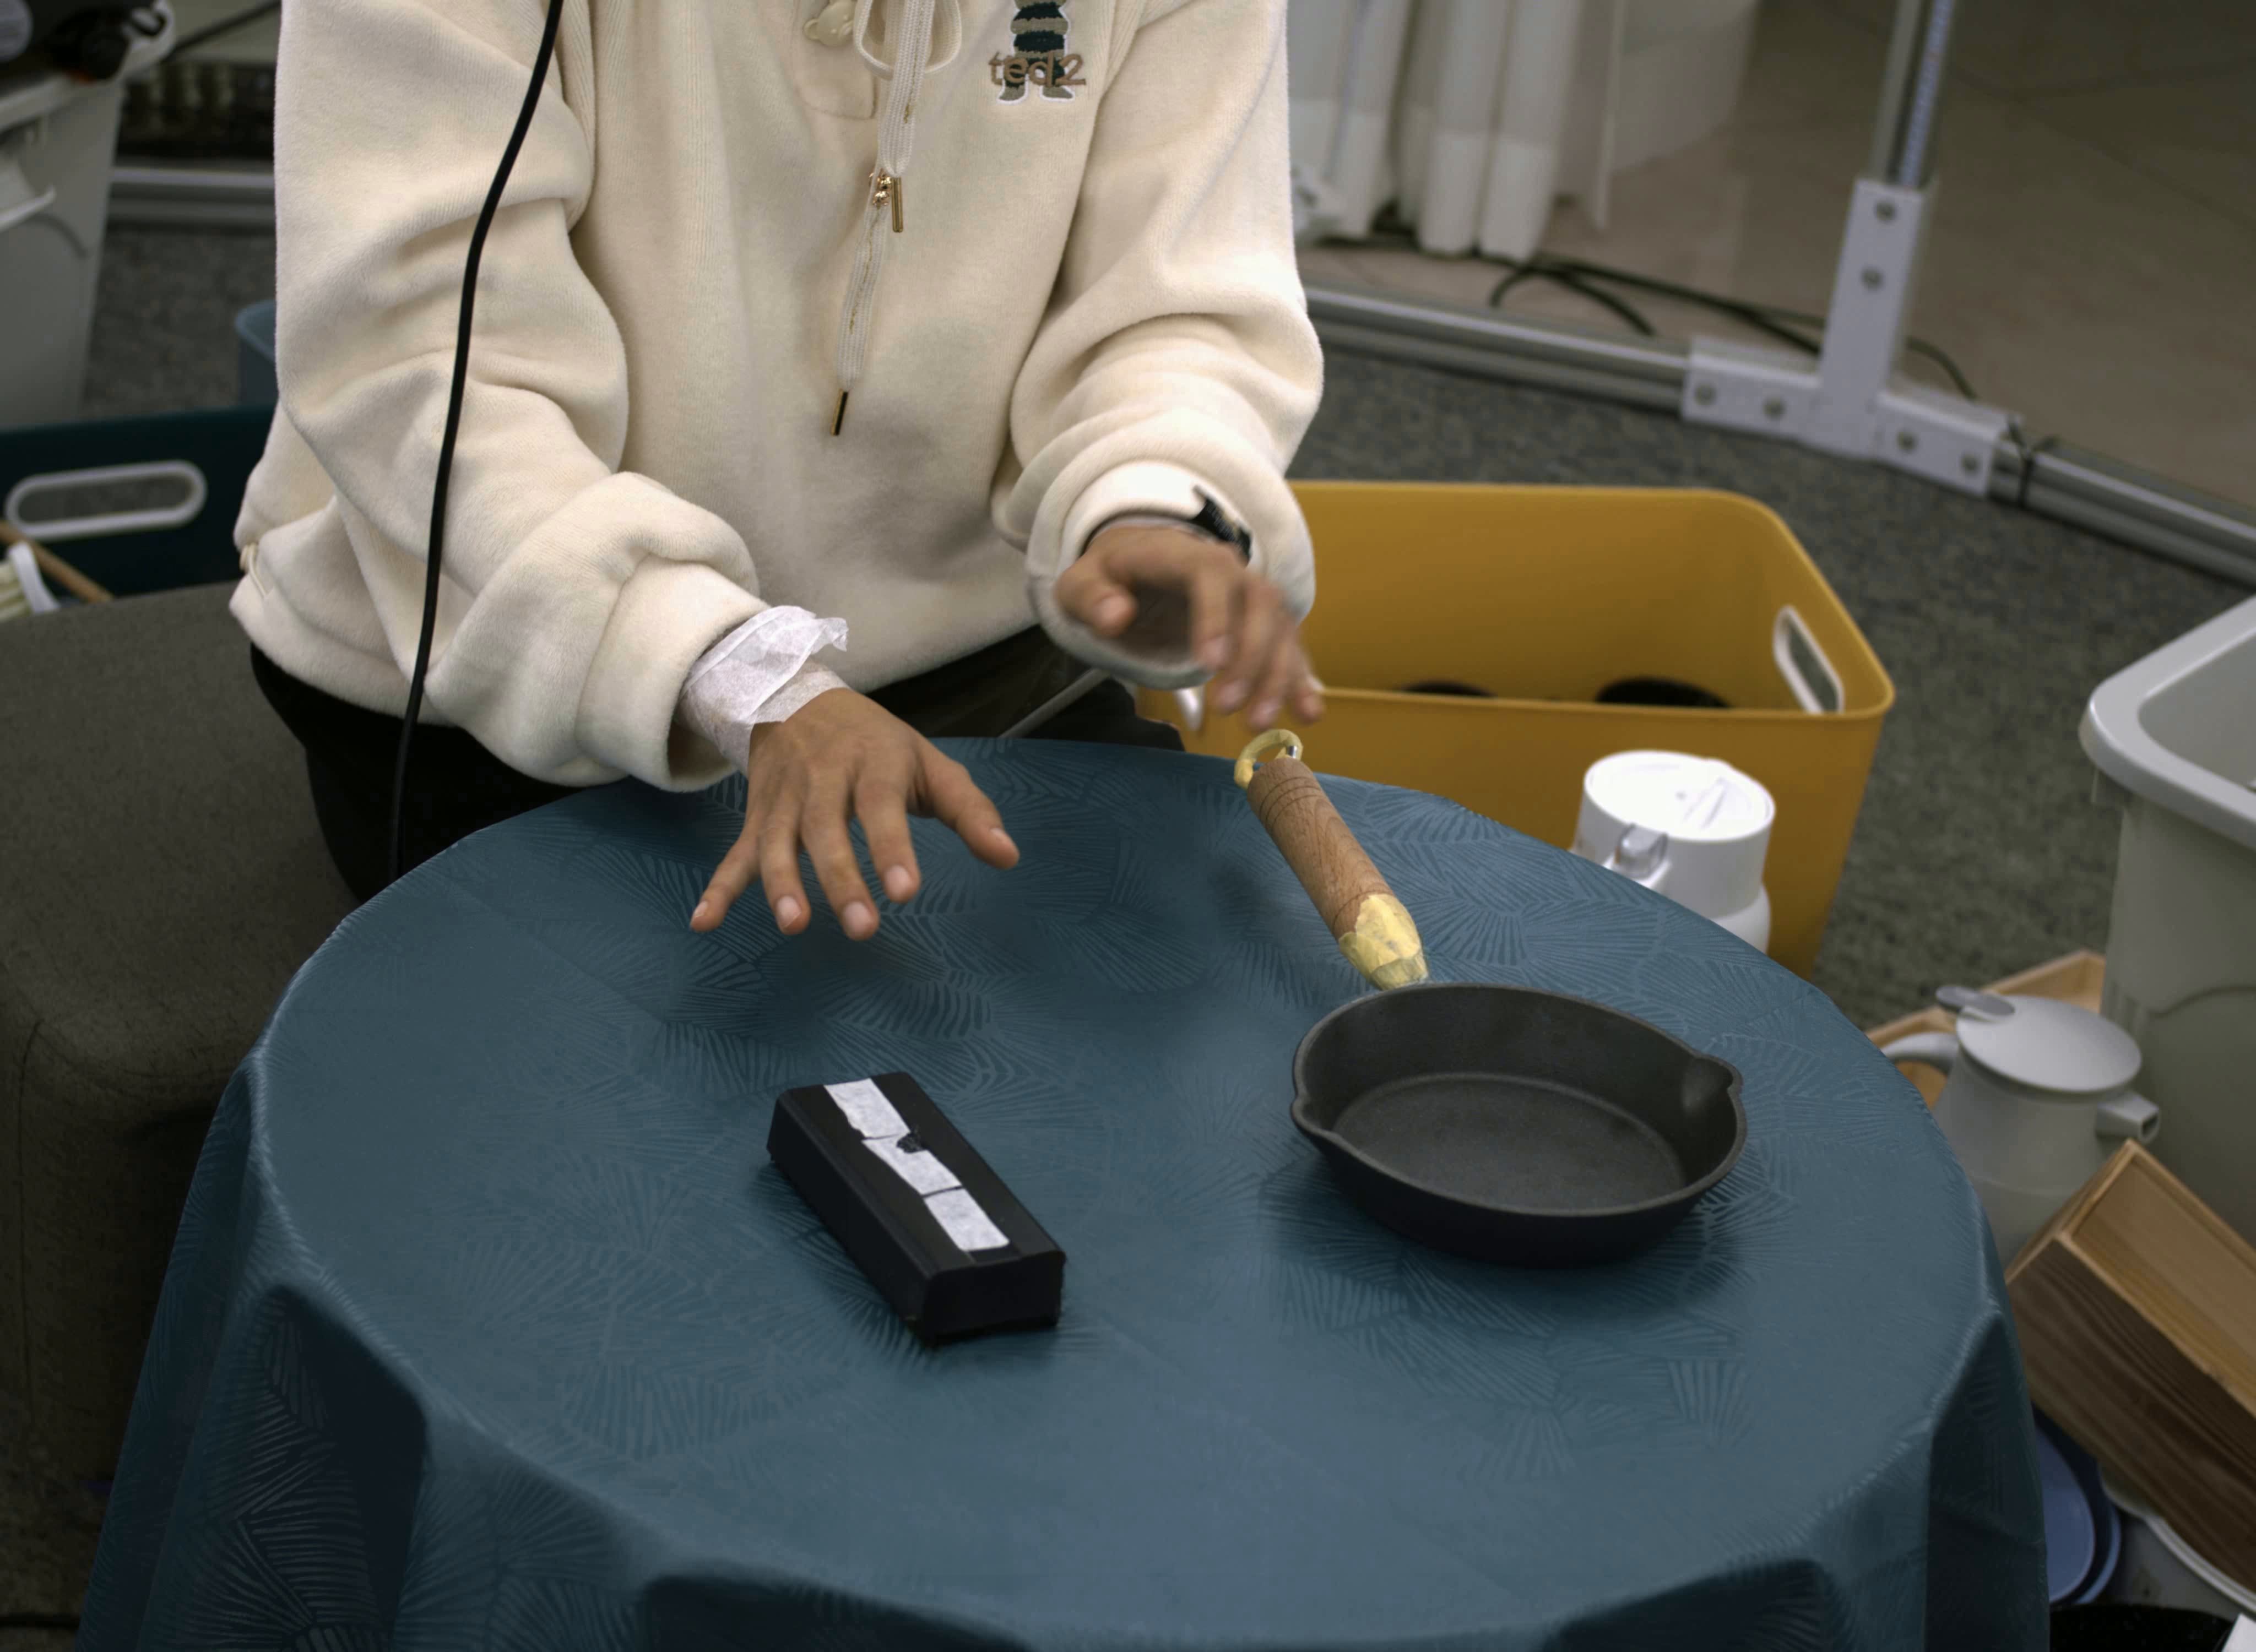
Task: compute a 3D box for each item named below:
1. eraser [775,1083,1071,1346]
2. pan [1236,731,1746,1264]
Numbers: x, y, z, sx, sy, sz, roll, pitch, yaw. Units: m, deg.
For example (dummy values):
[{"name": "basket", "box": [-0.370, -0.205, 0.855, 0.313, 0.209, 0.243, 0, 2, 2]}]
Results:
[{"name": "eraser", "box": [-0.069, 0.127, 1.751, 0.053, 0.030, 0.126, -7, 28, -26]}, {"name": "pan", "box": [0.105, 0.058, 1.897, 0.168, 0.049, 0.327, -5, 30, -19]}]
